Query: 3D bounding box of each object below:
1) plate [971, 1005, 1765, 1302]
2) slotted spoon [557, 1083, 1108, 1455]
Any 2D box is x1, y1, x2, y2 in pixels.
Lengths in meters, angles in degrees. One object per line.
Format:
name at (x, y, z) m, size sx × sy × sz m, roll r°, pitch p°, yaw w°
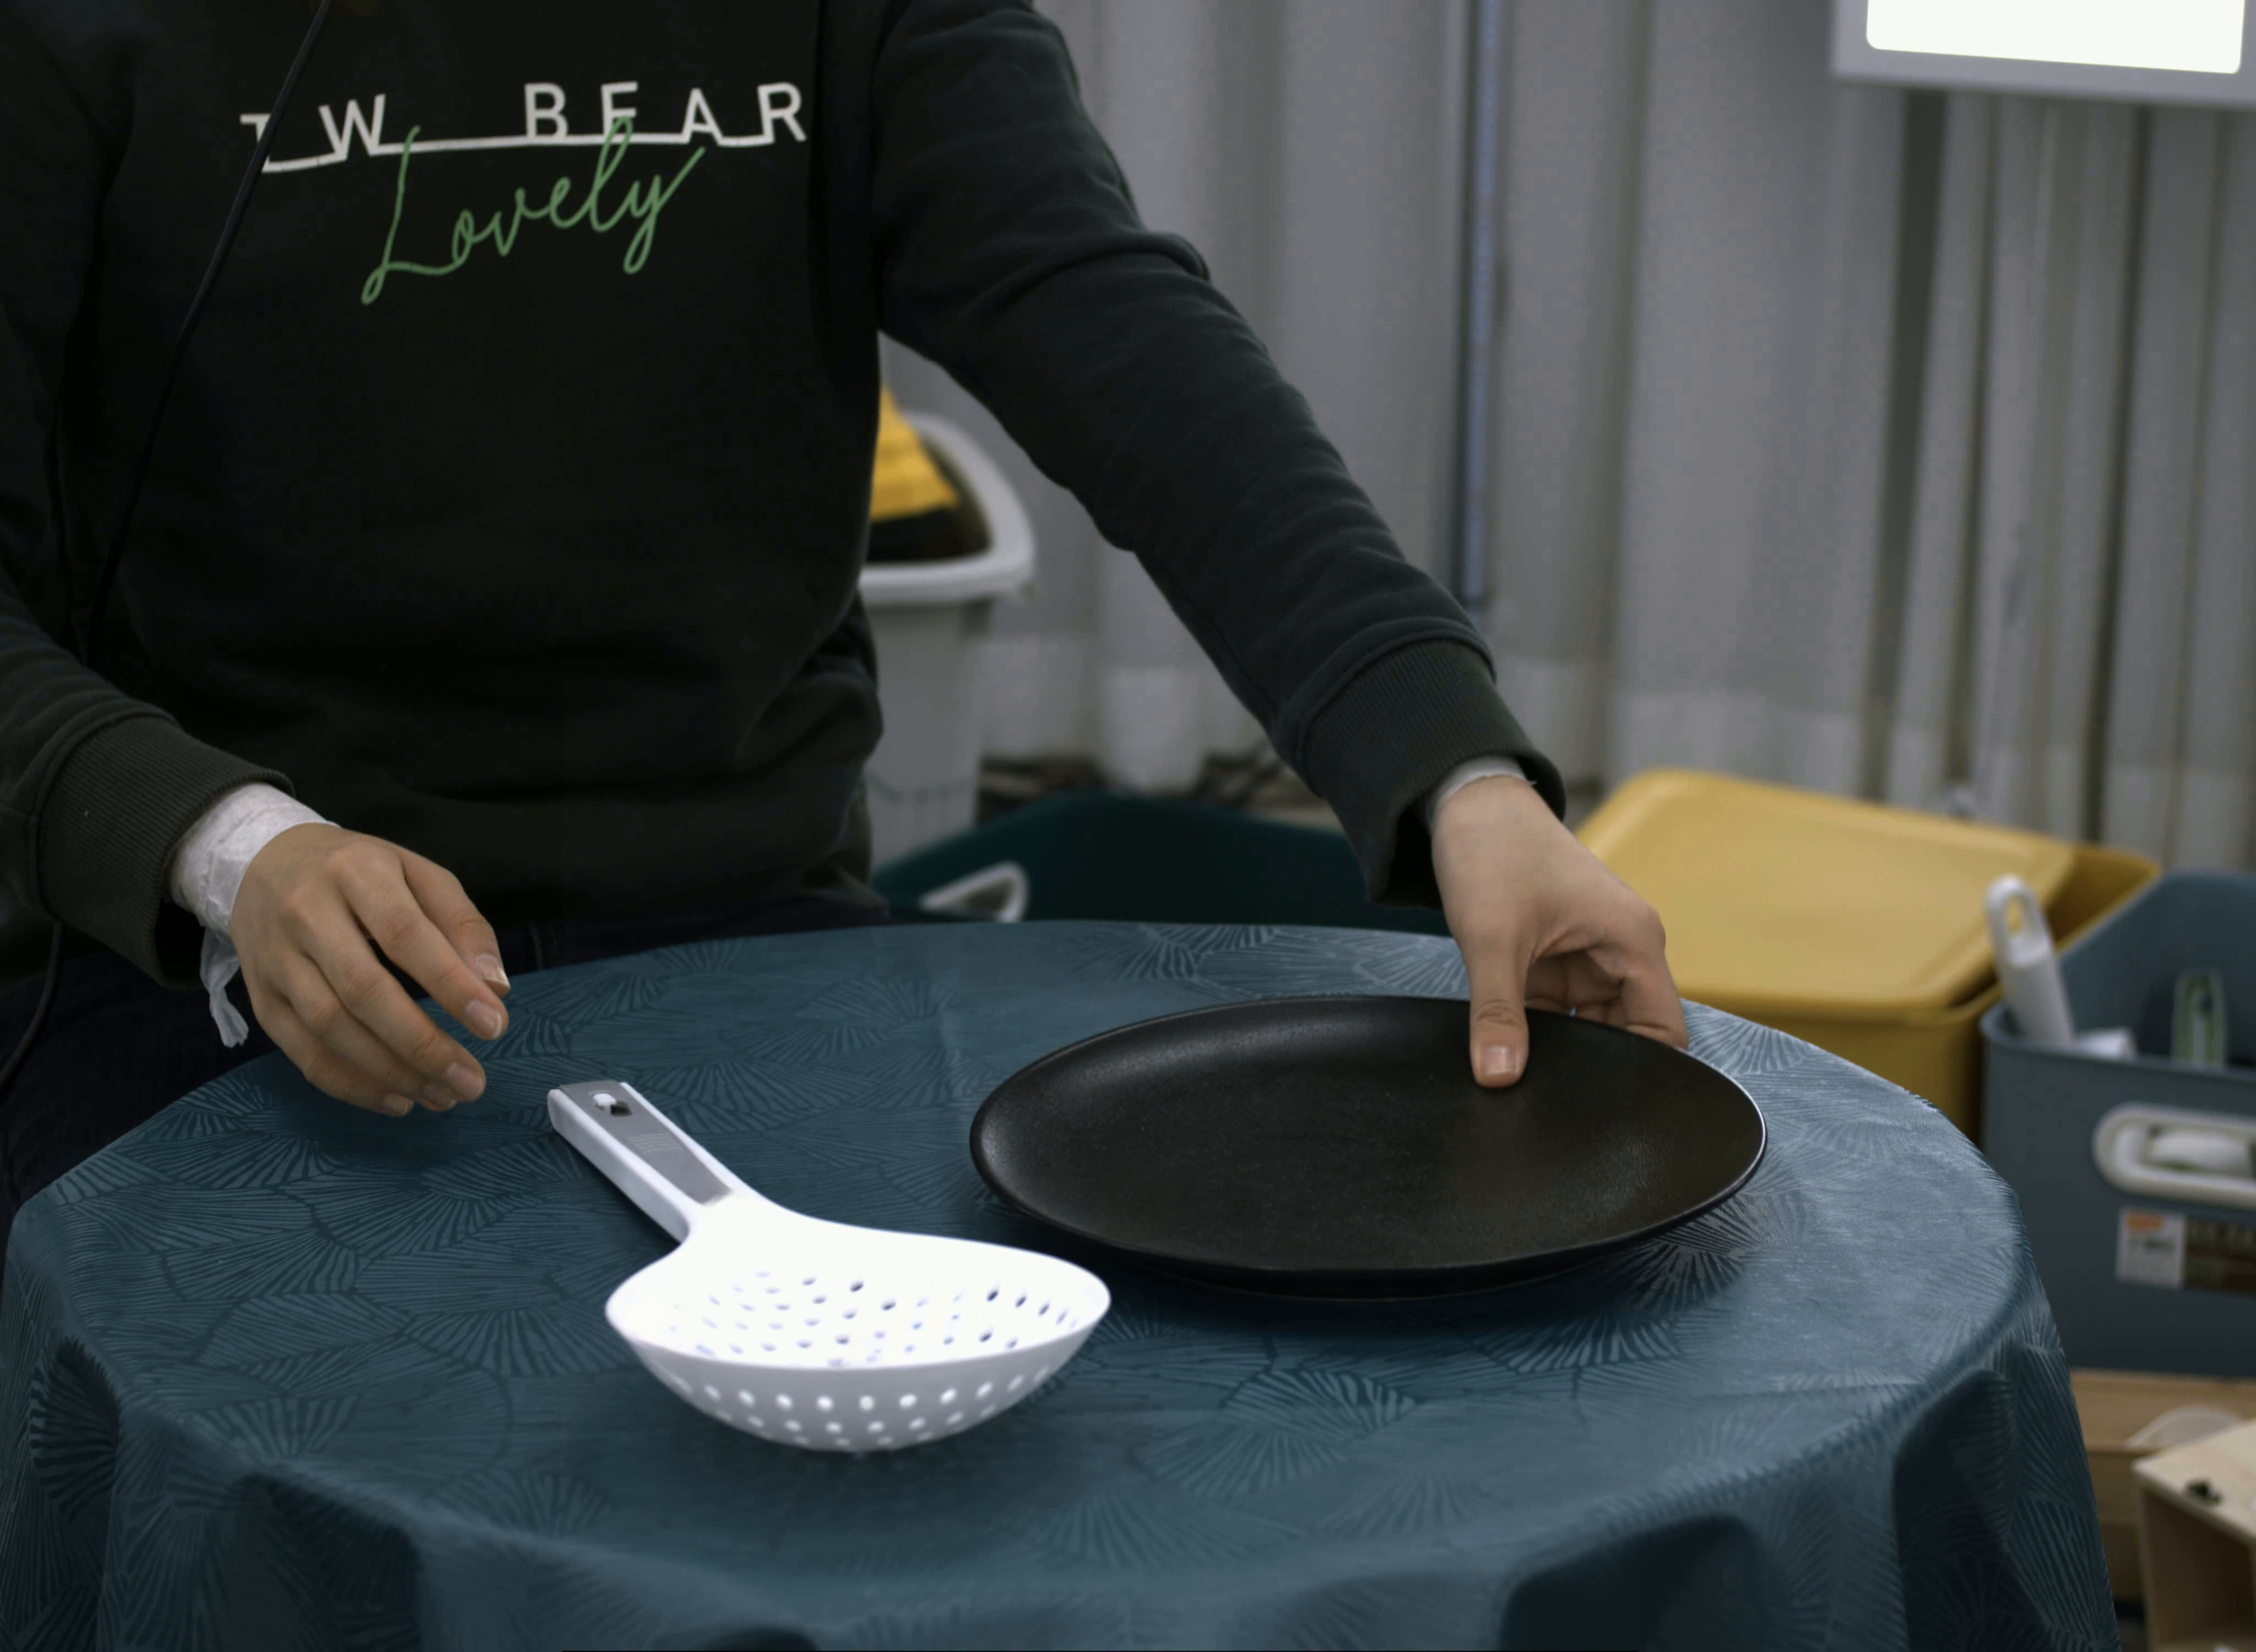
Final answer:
plate at (0.073, 0.102, 1.614) m, size 0.243 × 0.023 × 0.243 m, roll 0°, pitch 17°, yaw 1°
slotted spoon at (-0.111, 0.118, 1.519) m, size 0.136 × 0.046 × 0.346 m, roll -3°, pitch 15°, yaw -21°
